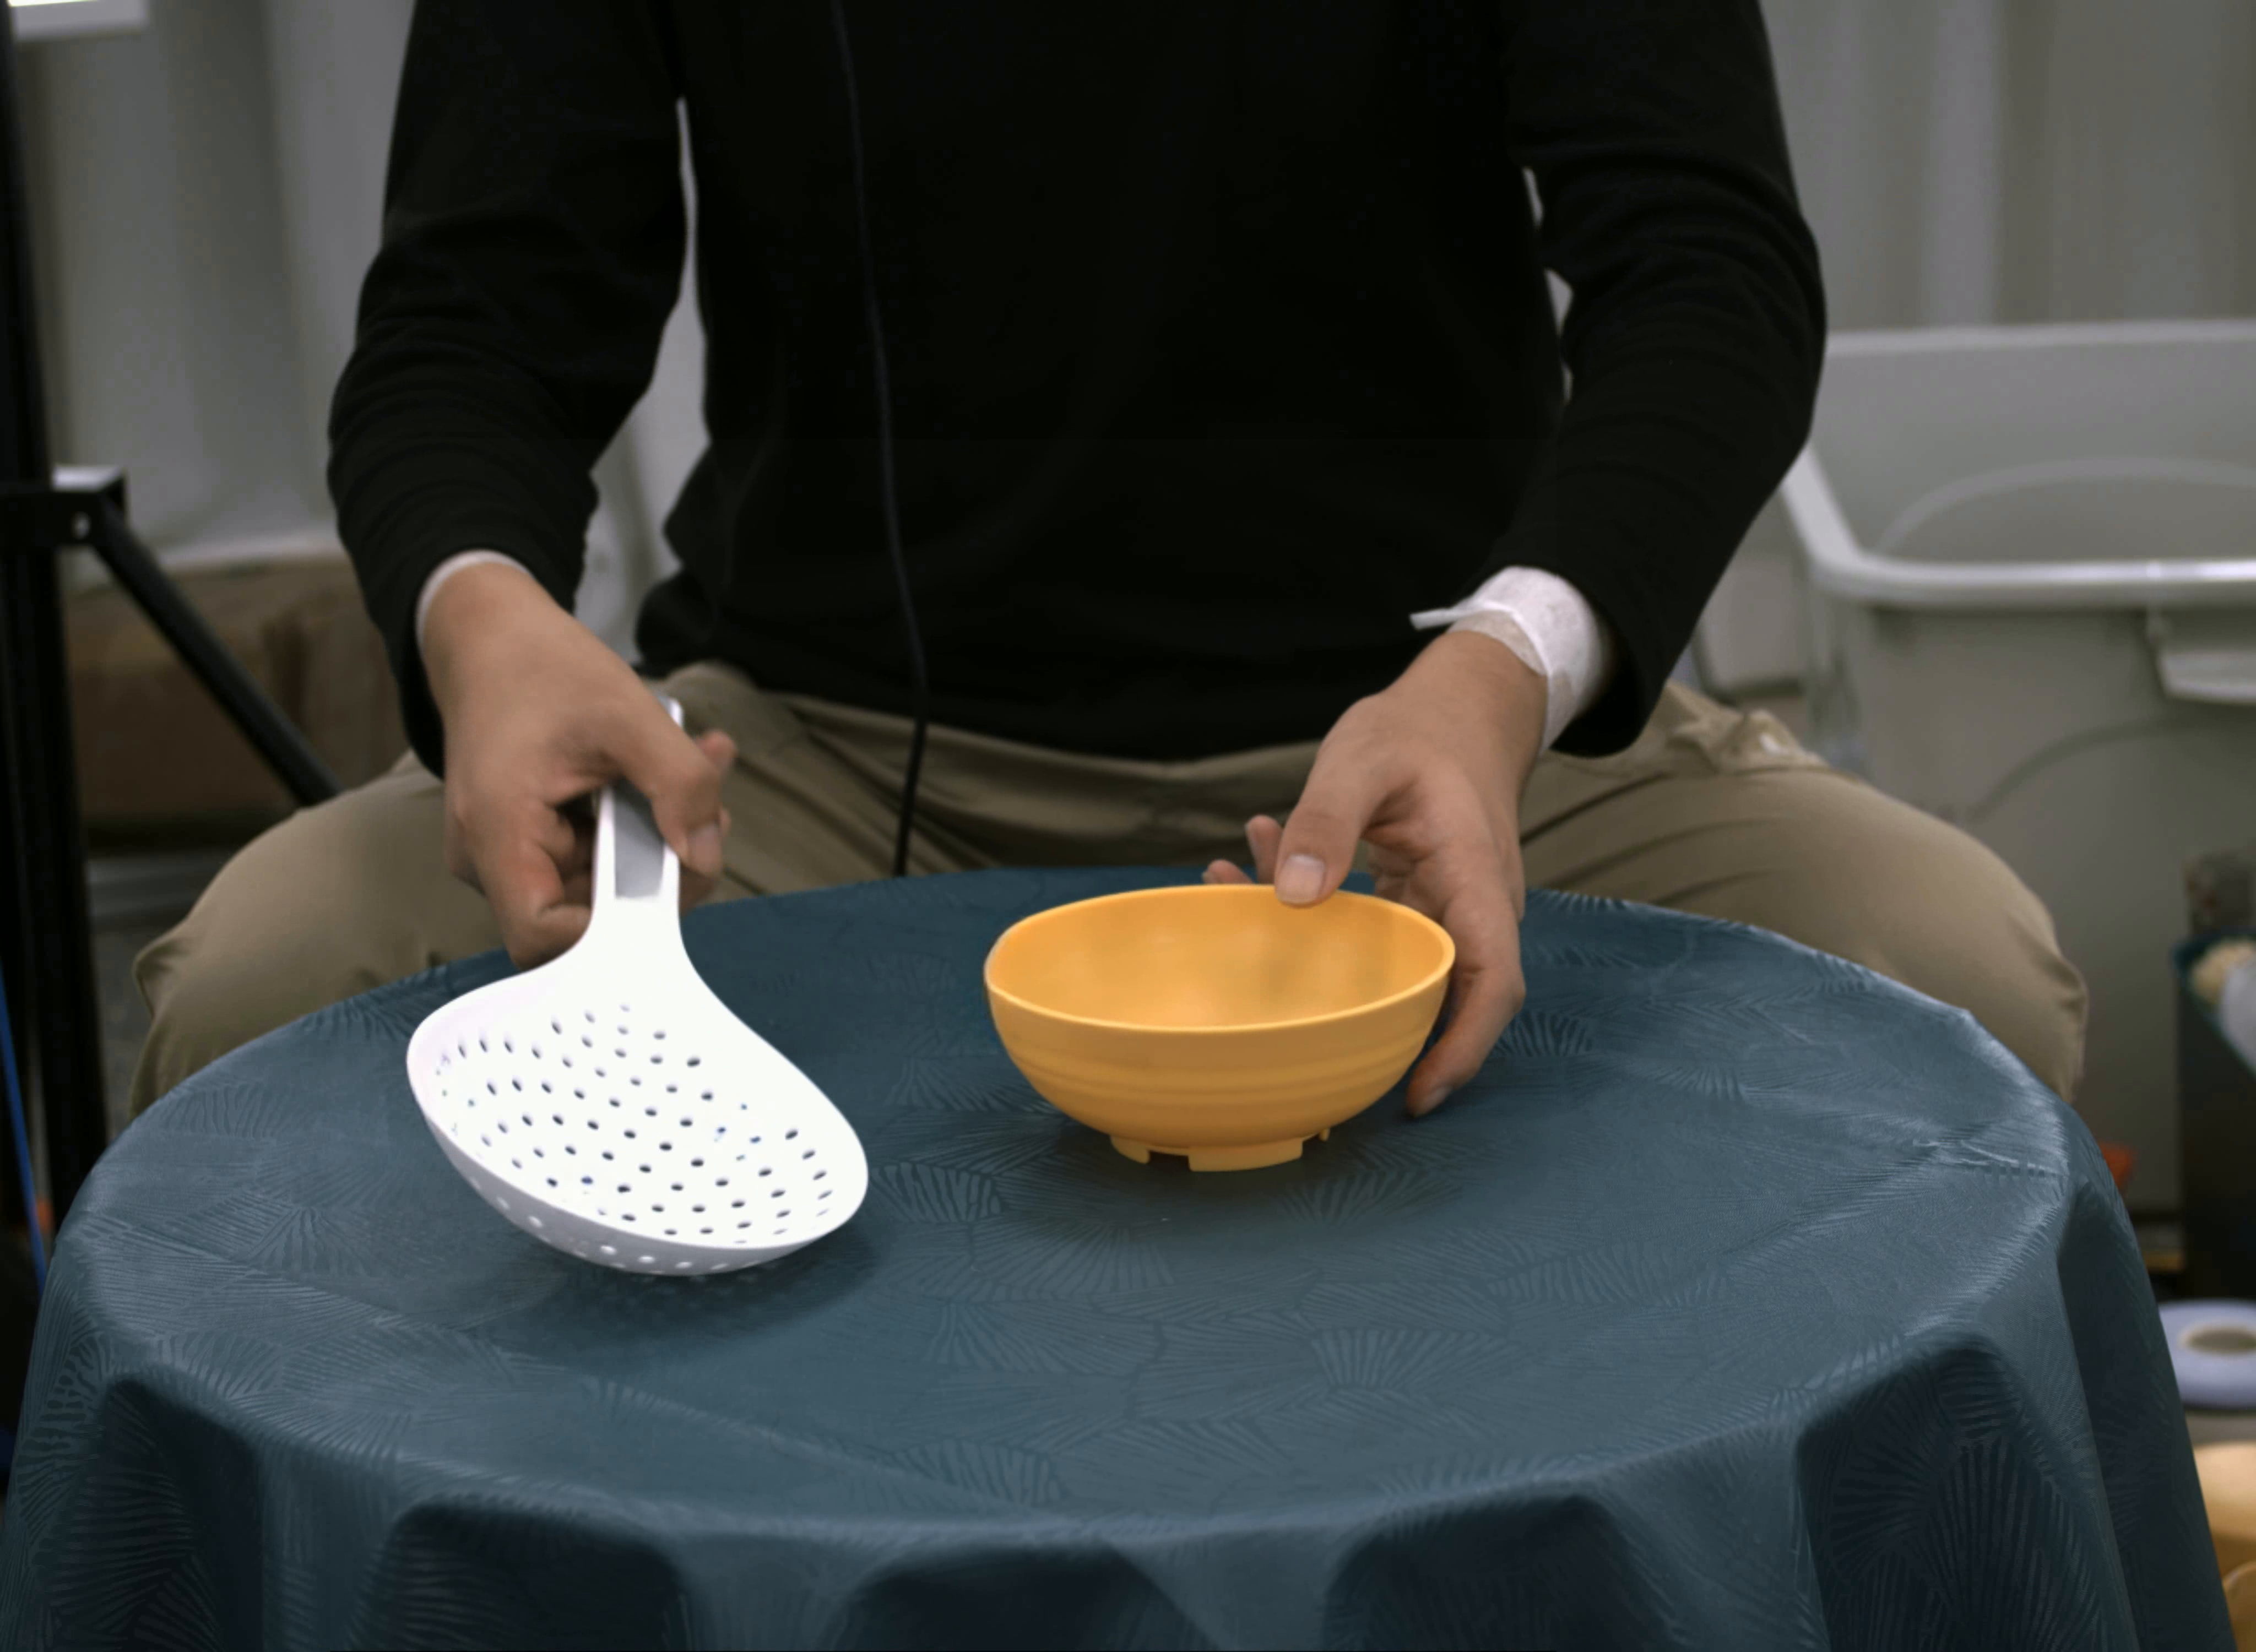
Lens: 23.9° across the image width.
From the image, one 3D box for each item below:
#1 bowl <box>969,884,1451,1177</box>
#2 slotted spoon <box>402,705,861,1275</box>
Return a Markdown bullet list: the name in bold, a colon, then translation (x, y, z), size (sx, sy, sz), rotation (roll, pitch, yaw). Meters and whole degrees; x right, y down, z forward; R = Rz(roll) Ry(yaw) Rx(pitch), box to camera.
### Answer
- **bowl**: translation (0.025, 0.067, 1.596), size (0.144, 0.060, 0.146), rotation (-1, 16, -1)
- **slotted spoon**: translation (-0.149, 0.042, 1.616), size (0.134, 0.046, 0.353), rotation (14, 28, -10)
